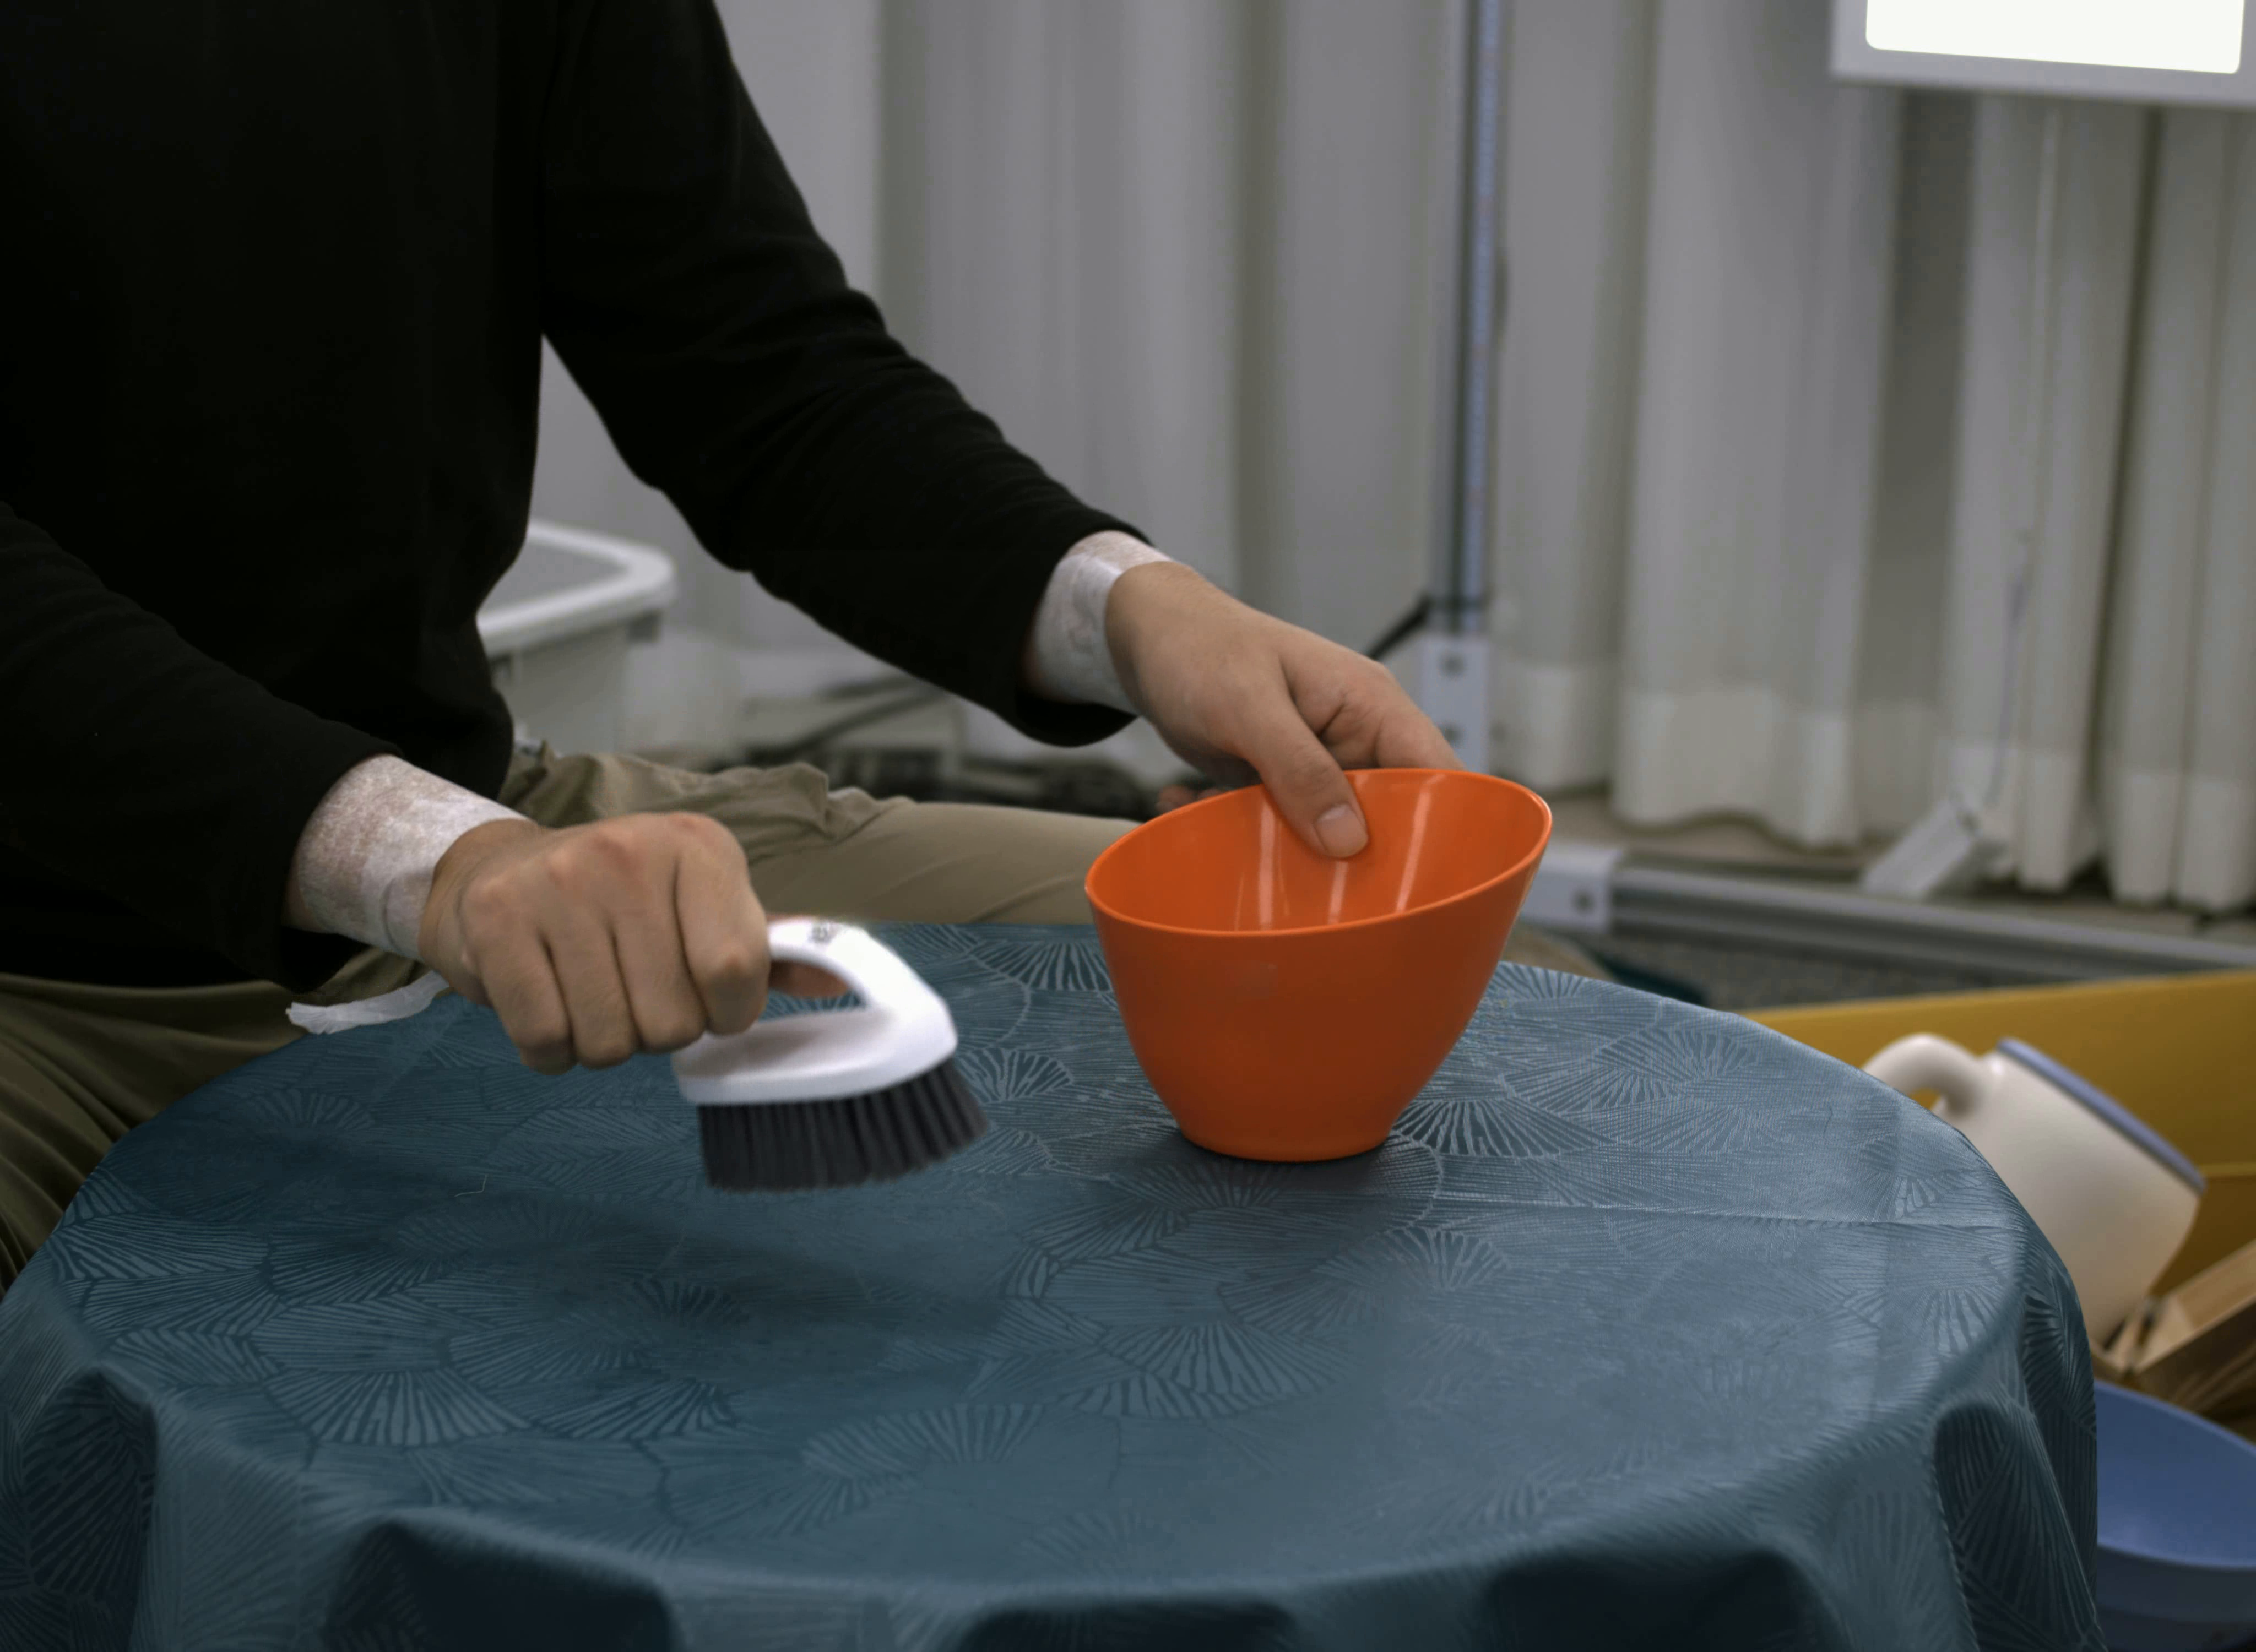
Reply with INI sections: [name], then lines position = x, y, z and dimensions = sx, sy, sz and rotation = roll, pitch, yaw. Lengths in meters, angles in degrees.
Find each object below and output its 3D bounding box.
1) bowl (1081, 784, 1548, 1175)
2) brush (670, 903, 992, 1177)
[bowl]
position = 0.060, 0.050, 1.664
dimensions = 0.147, 0.105, 0.147
rotation = -1, 13, 1
[brush]
position = -0.092, 0.057, 1.506
dimensions = 0.098, 0.073, 0.050
rotation = -5, 22, 44
